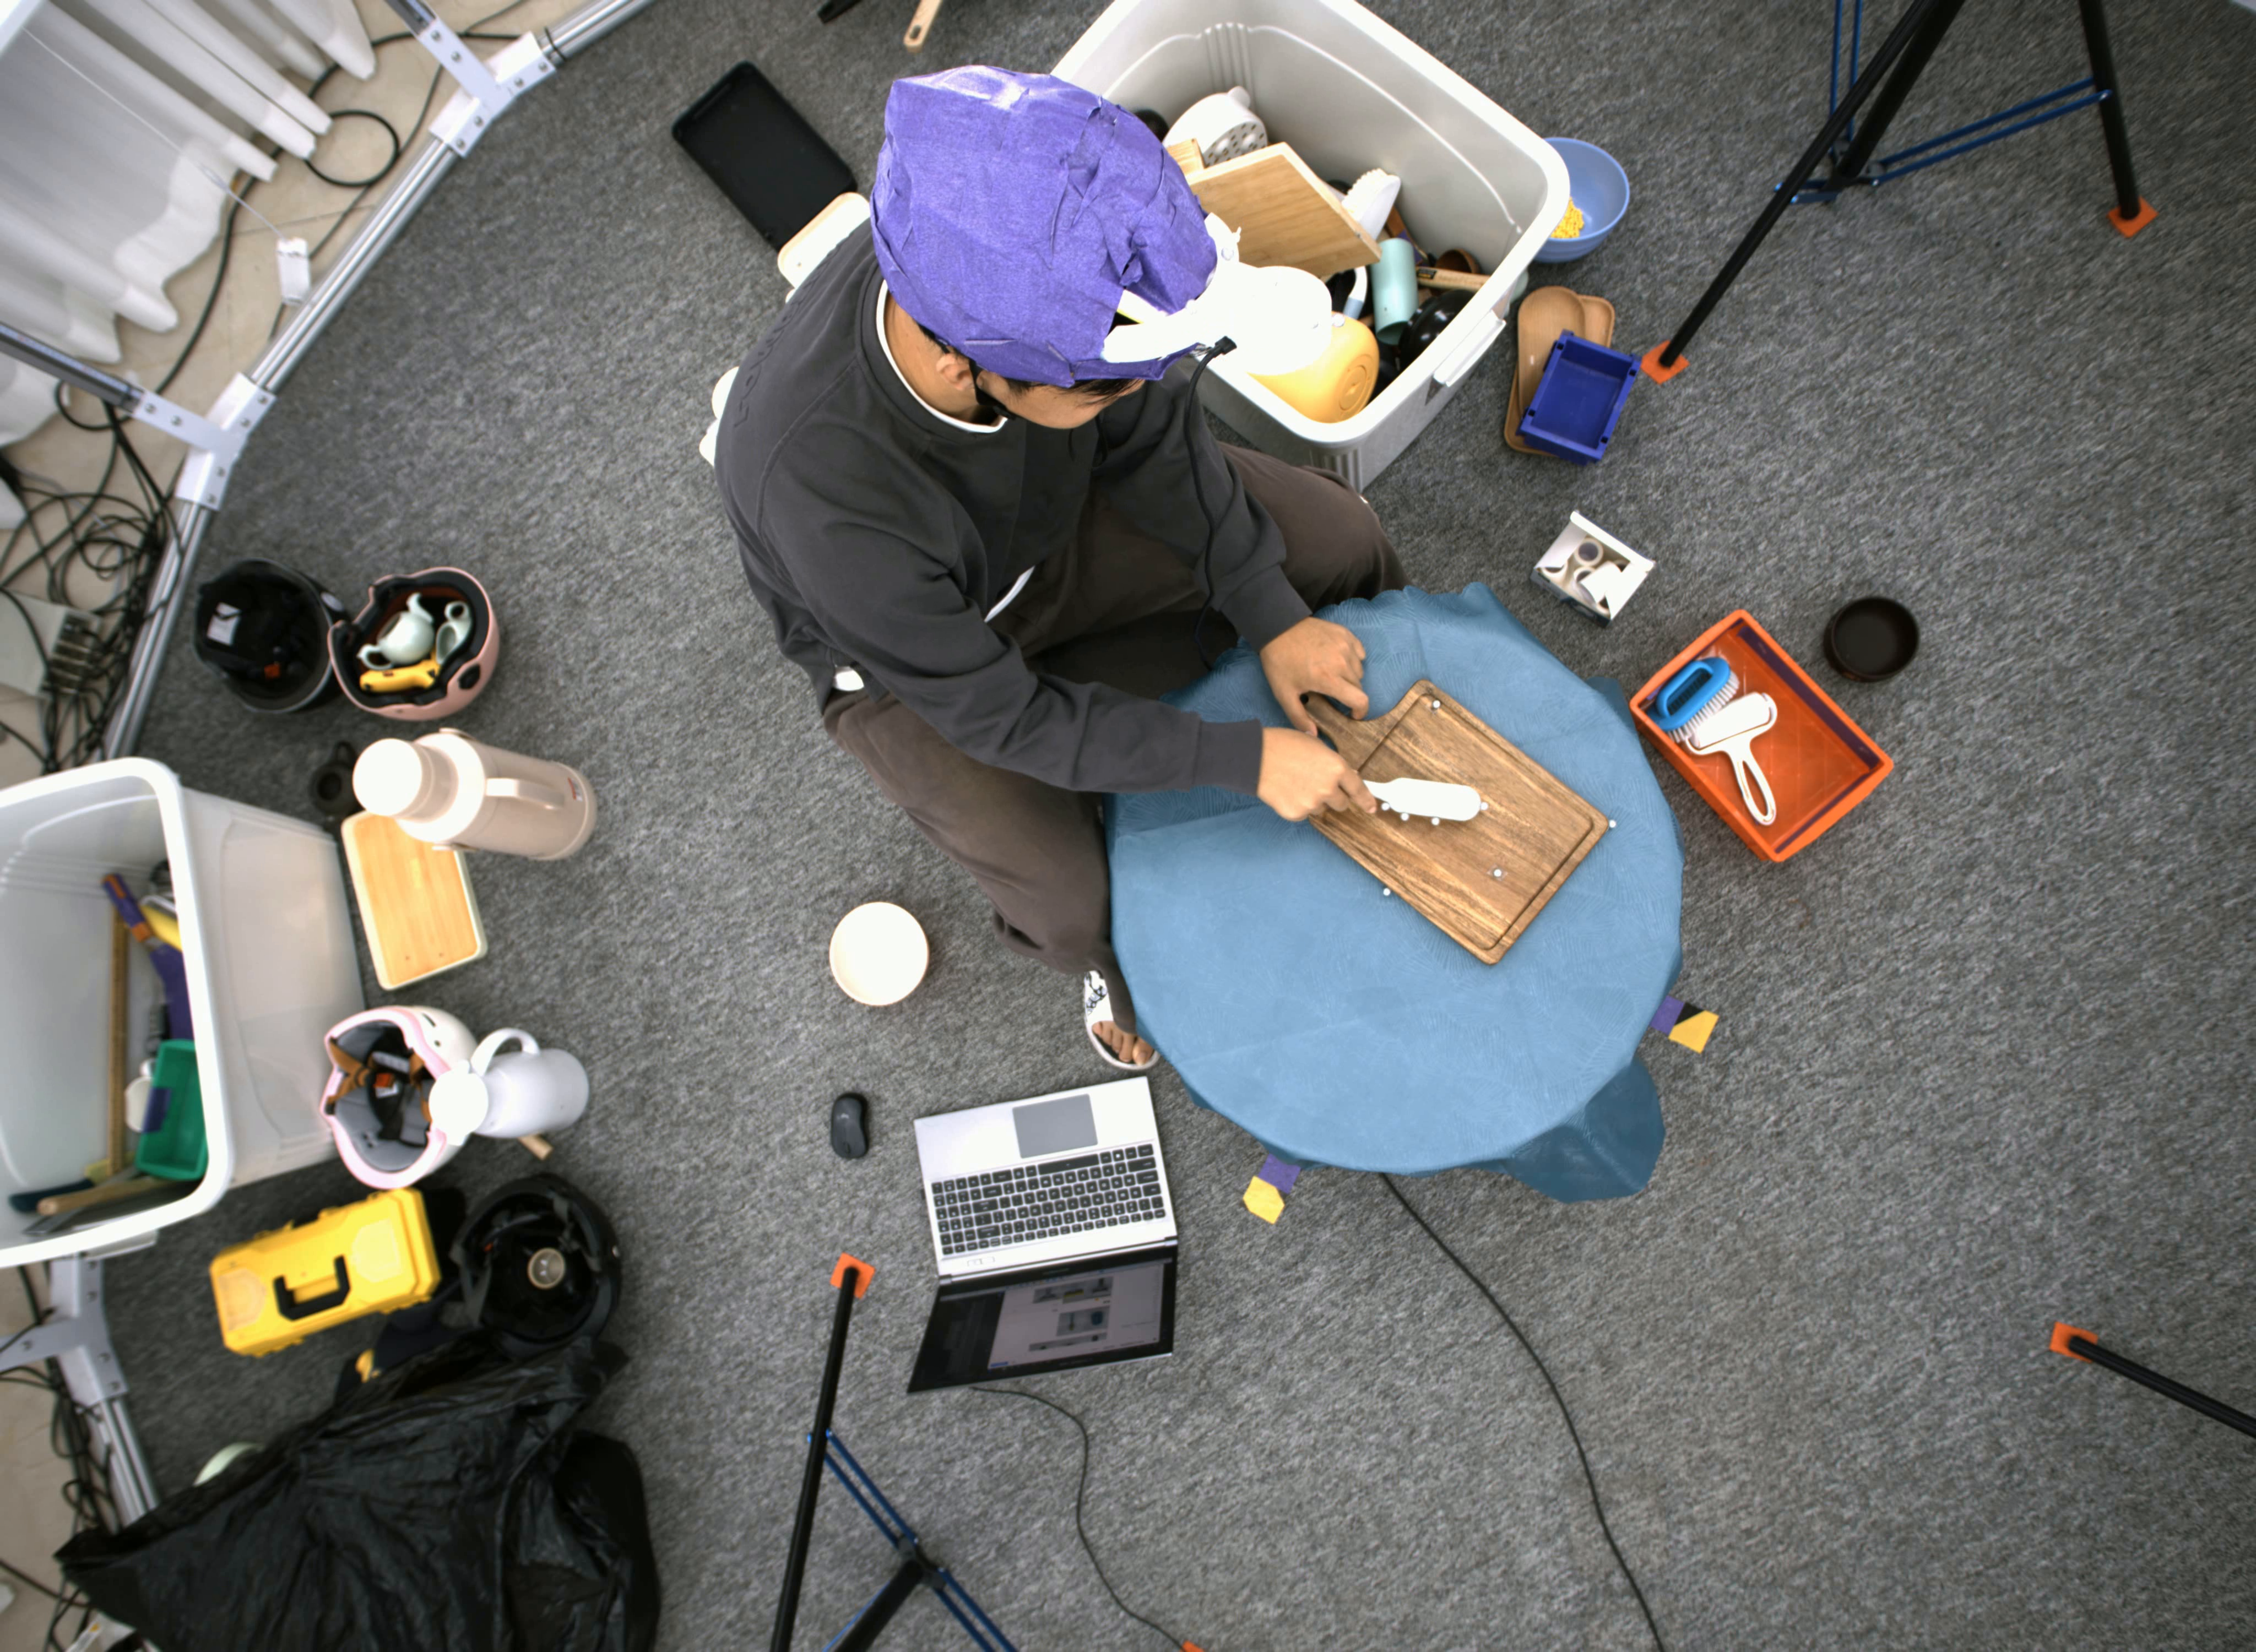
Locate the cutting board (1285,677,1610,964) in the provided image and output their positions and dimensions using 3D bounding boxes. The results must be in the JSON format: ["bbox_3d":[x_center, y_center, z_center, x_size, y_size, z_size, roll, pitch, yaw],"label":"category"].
[{"bbox_3d":[0.308,-0.041,1.450,0.351,0.023,0.201,40,94,11],"label":"cutting board"}]

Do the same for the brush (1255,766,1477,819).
[{"bbox_3d":[0.243,-0.038,1.420,0.229,0.050,0.037,6,86,-3],"label":"brush"}]
